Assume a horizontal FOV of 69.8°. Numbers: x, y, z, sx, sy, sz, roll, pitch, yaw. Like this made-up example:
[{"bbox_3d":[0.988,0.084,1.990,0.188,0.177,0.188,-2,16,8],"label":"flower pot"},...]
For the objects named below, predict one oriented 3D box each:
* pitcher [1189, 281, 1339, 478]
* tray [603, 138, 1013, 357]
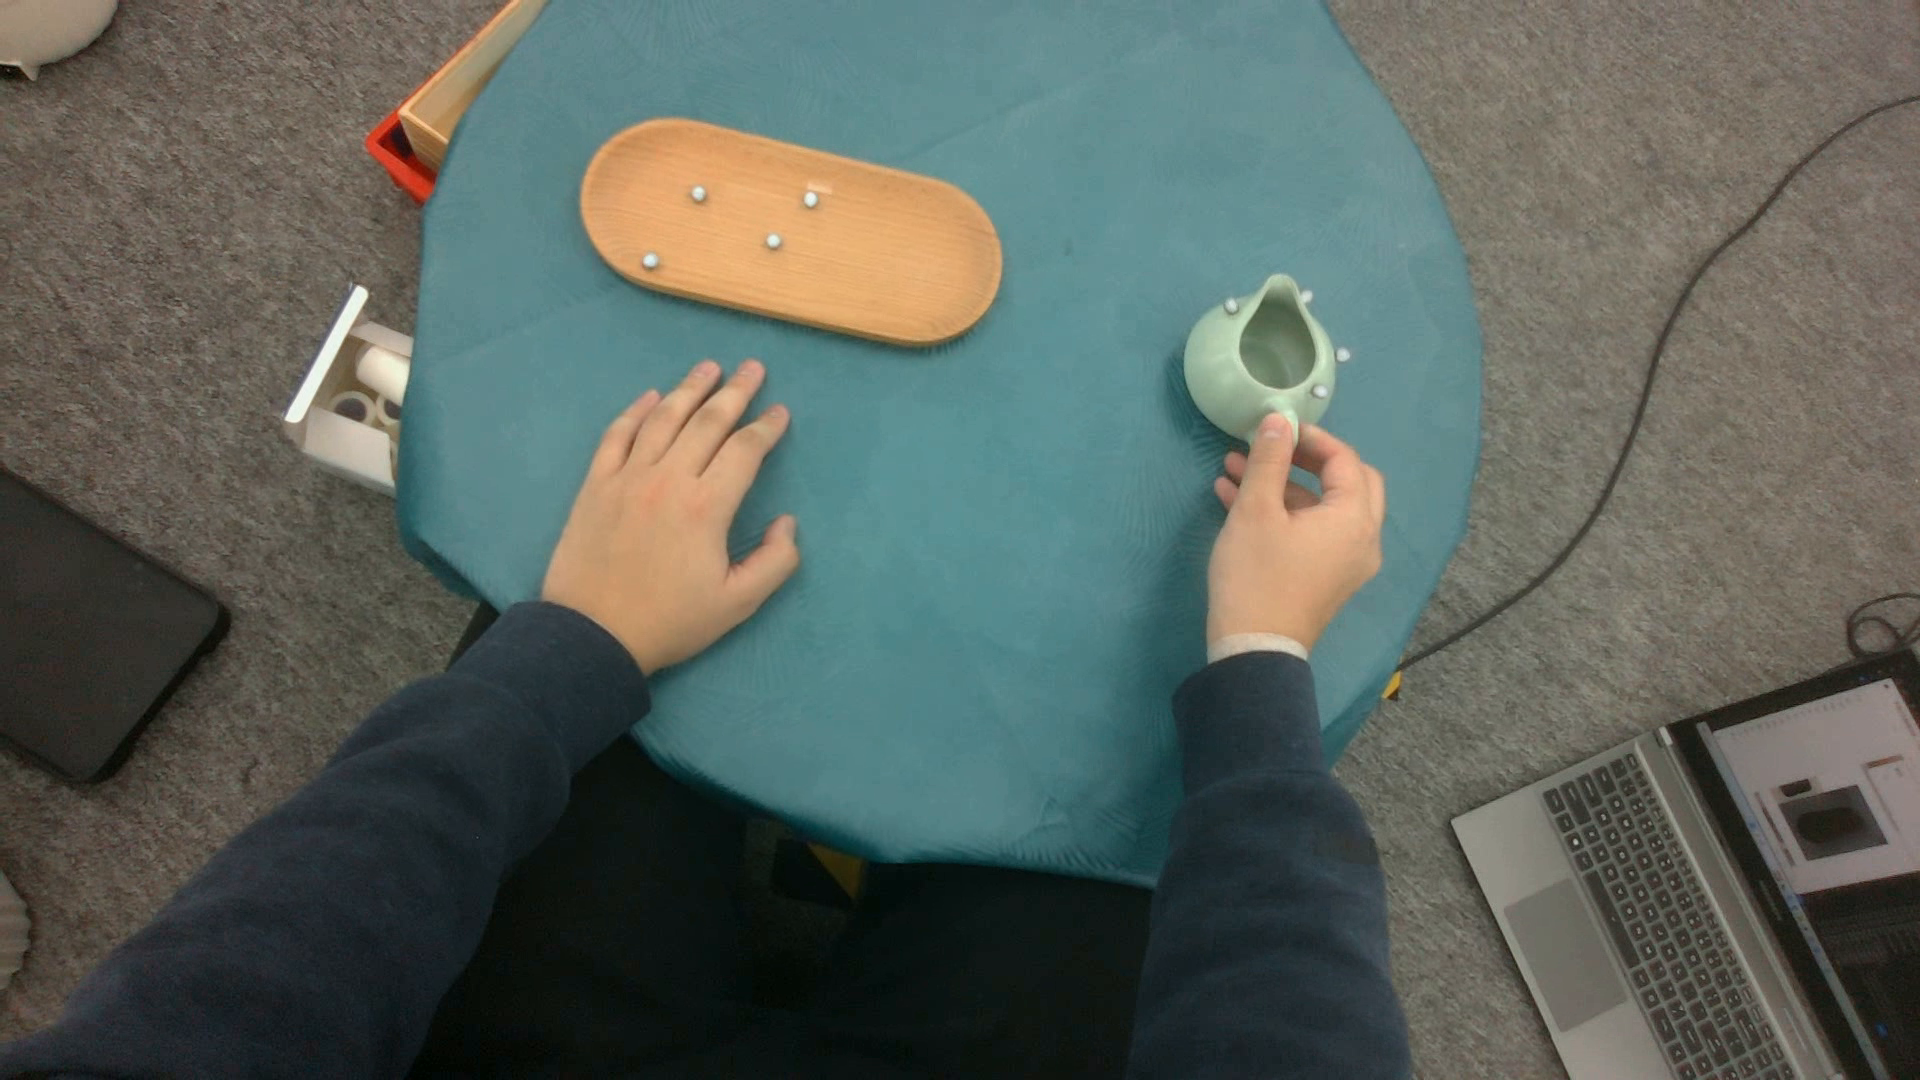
[{"bbox_3d":[0.173,-0.085,0.769,0.086,0.060,0.108,1,76,-6],"label":"pitcher"},{"bbox_3d":[-0.084,-0.164,0.777,0.231,0.020,0.102,12,75,-7],"label":"tray"}]
